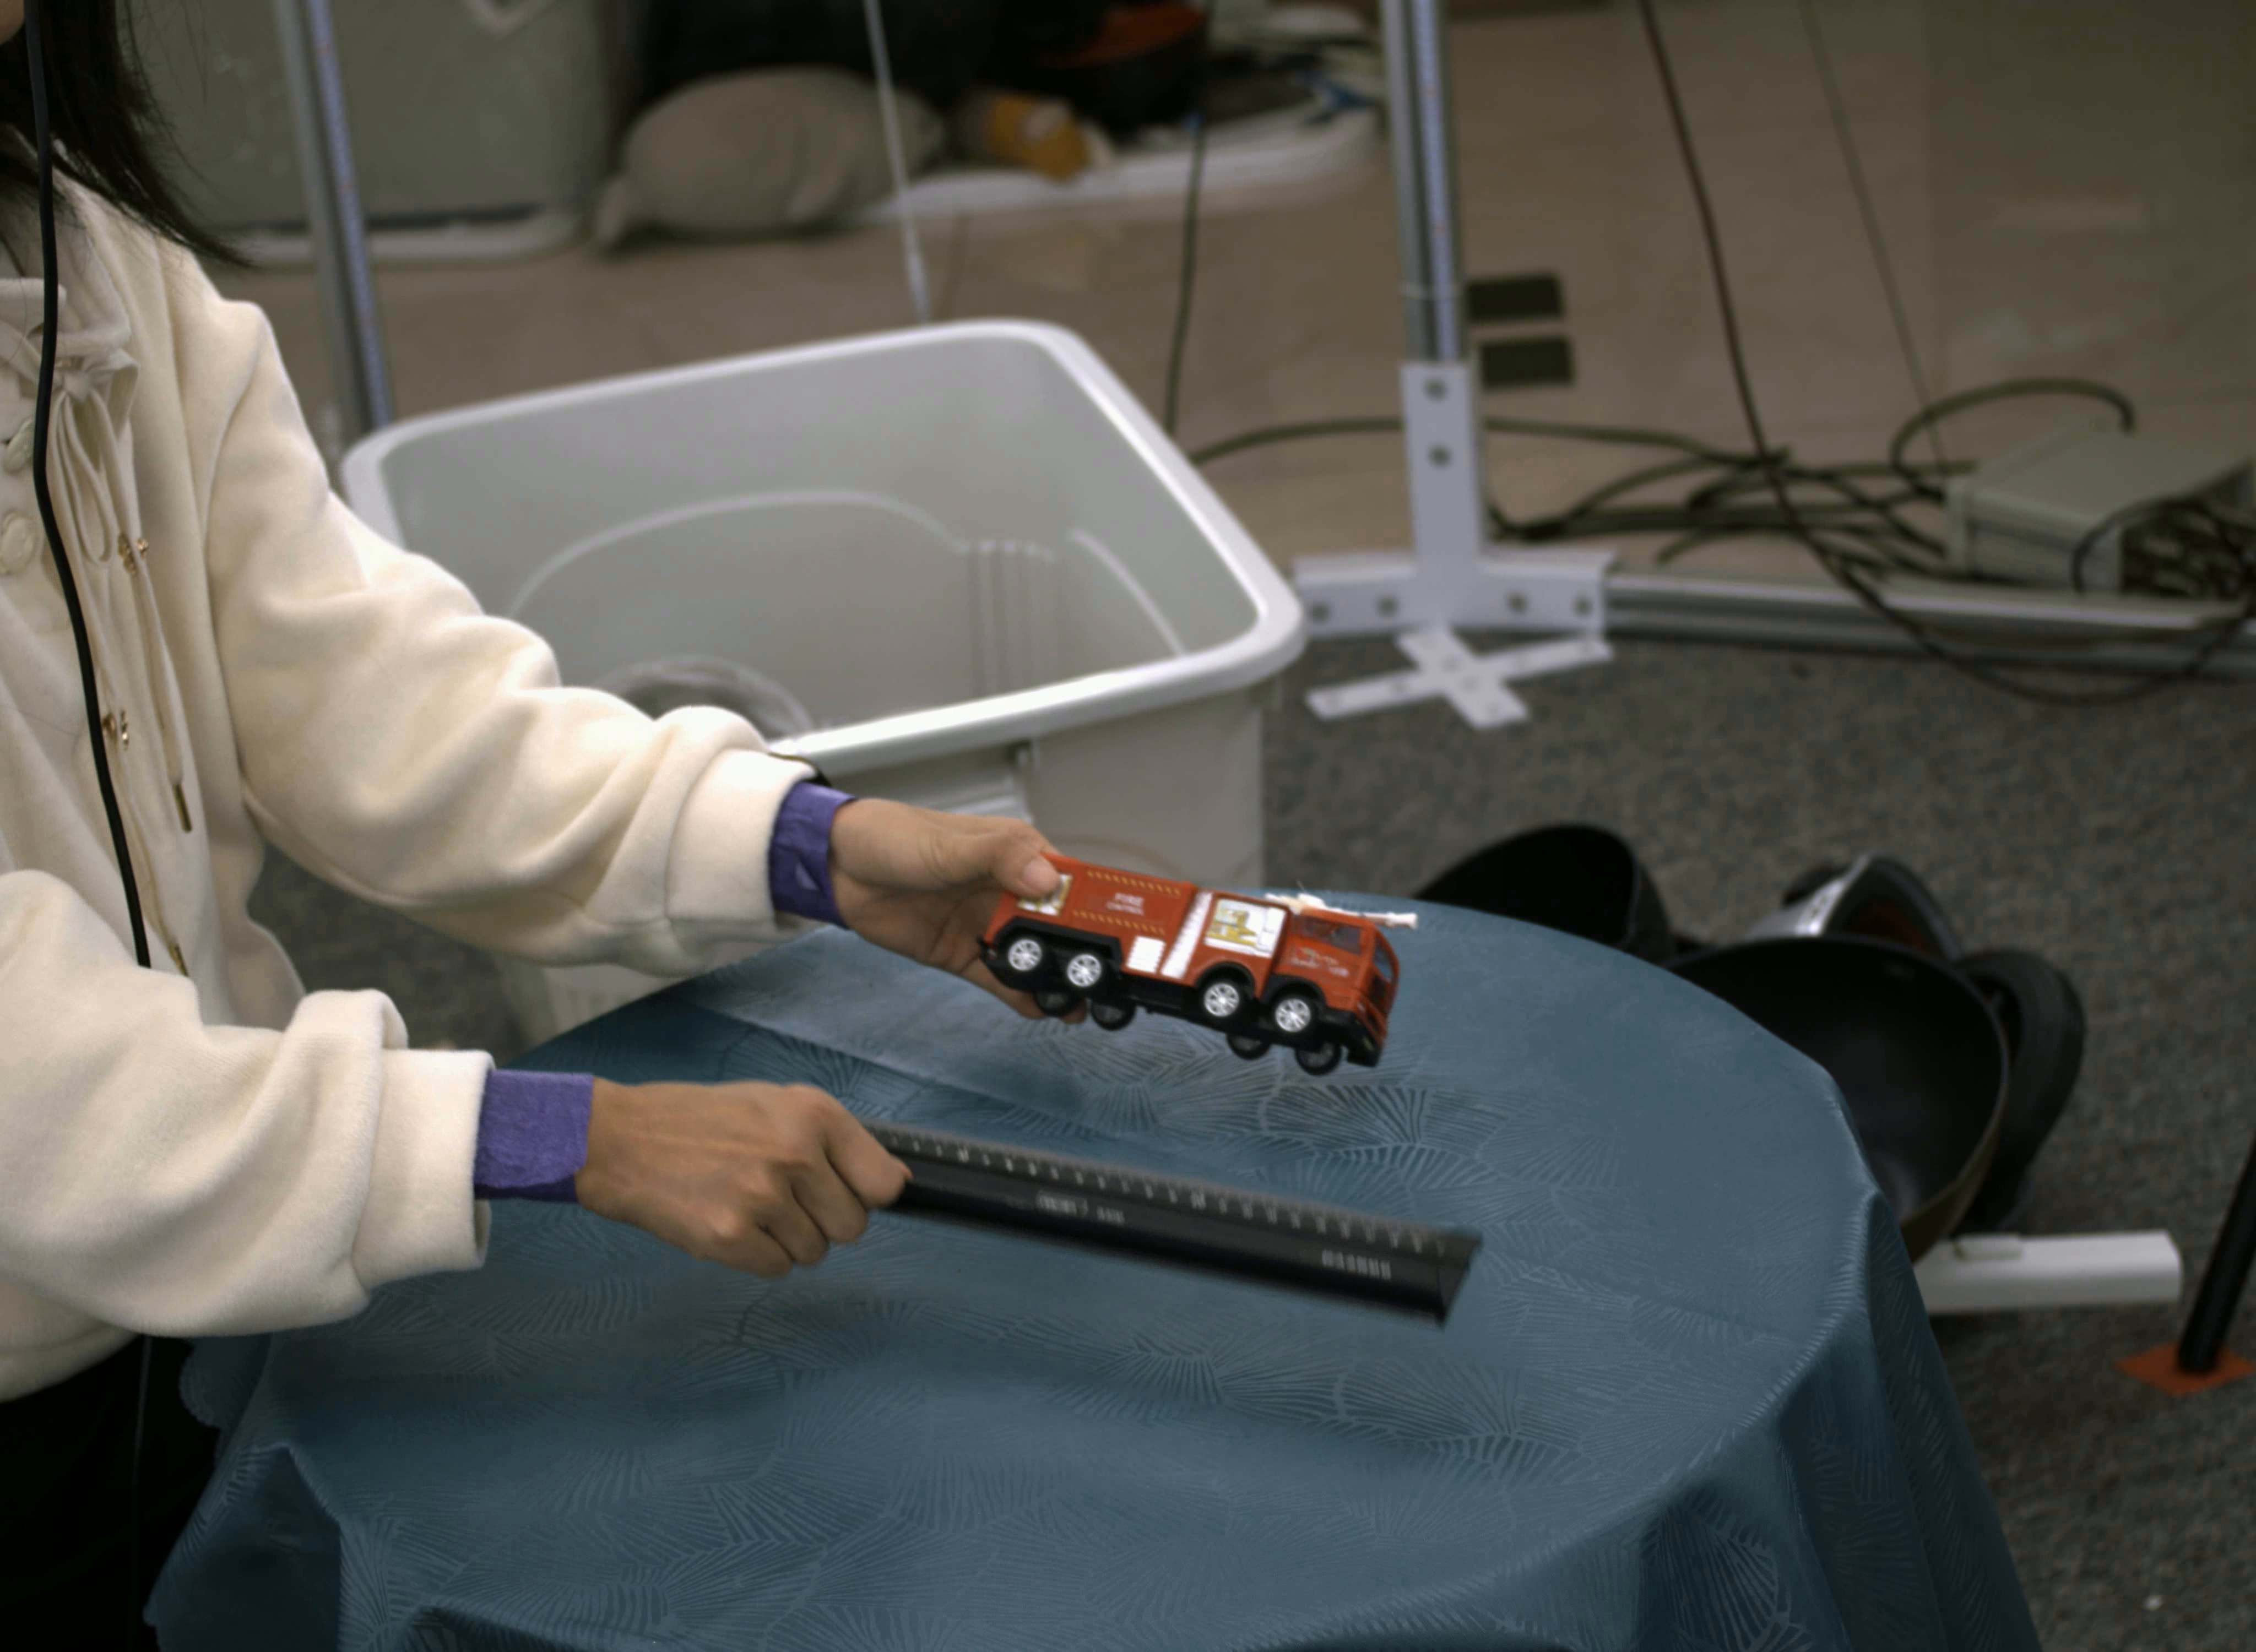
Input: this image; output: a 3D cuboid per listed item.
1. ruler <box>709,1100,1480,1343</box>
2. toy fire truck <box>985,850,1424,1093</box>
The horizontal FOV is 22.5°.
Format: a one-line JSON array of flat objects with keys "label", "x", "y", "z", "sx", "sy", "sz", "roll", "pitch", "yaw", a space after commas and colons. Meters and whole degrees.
[{"label": "ruler", "x": -0.017, "y": 0.136, "z": 2.027, "sx": 0.311, "sy": 0.017, "sz": 0.039, "roll": 10, "pitch": 55, "yaw": 31}, {"label": "toy fire truck", "x": 0.029, "y": 0.054, "z": 2.202, "sx": 0.167, "sy": 0.054, "sz": 0.070, "roll": 10, "pitch": 73, "yaw": 24}]
